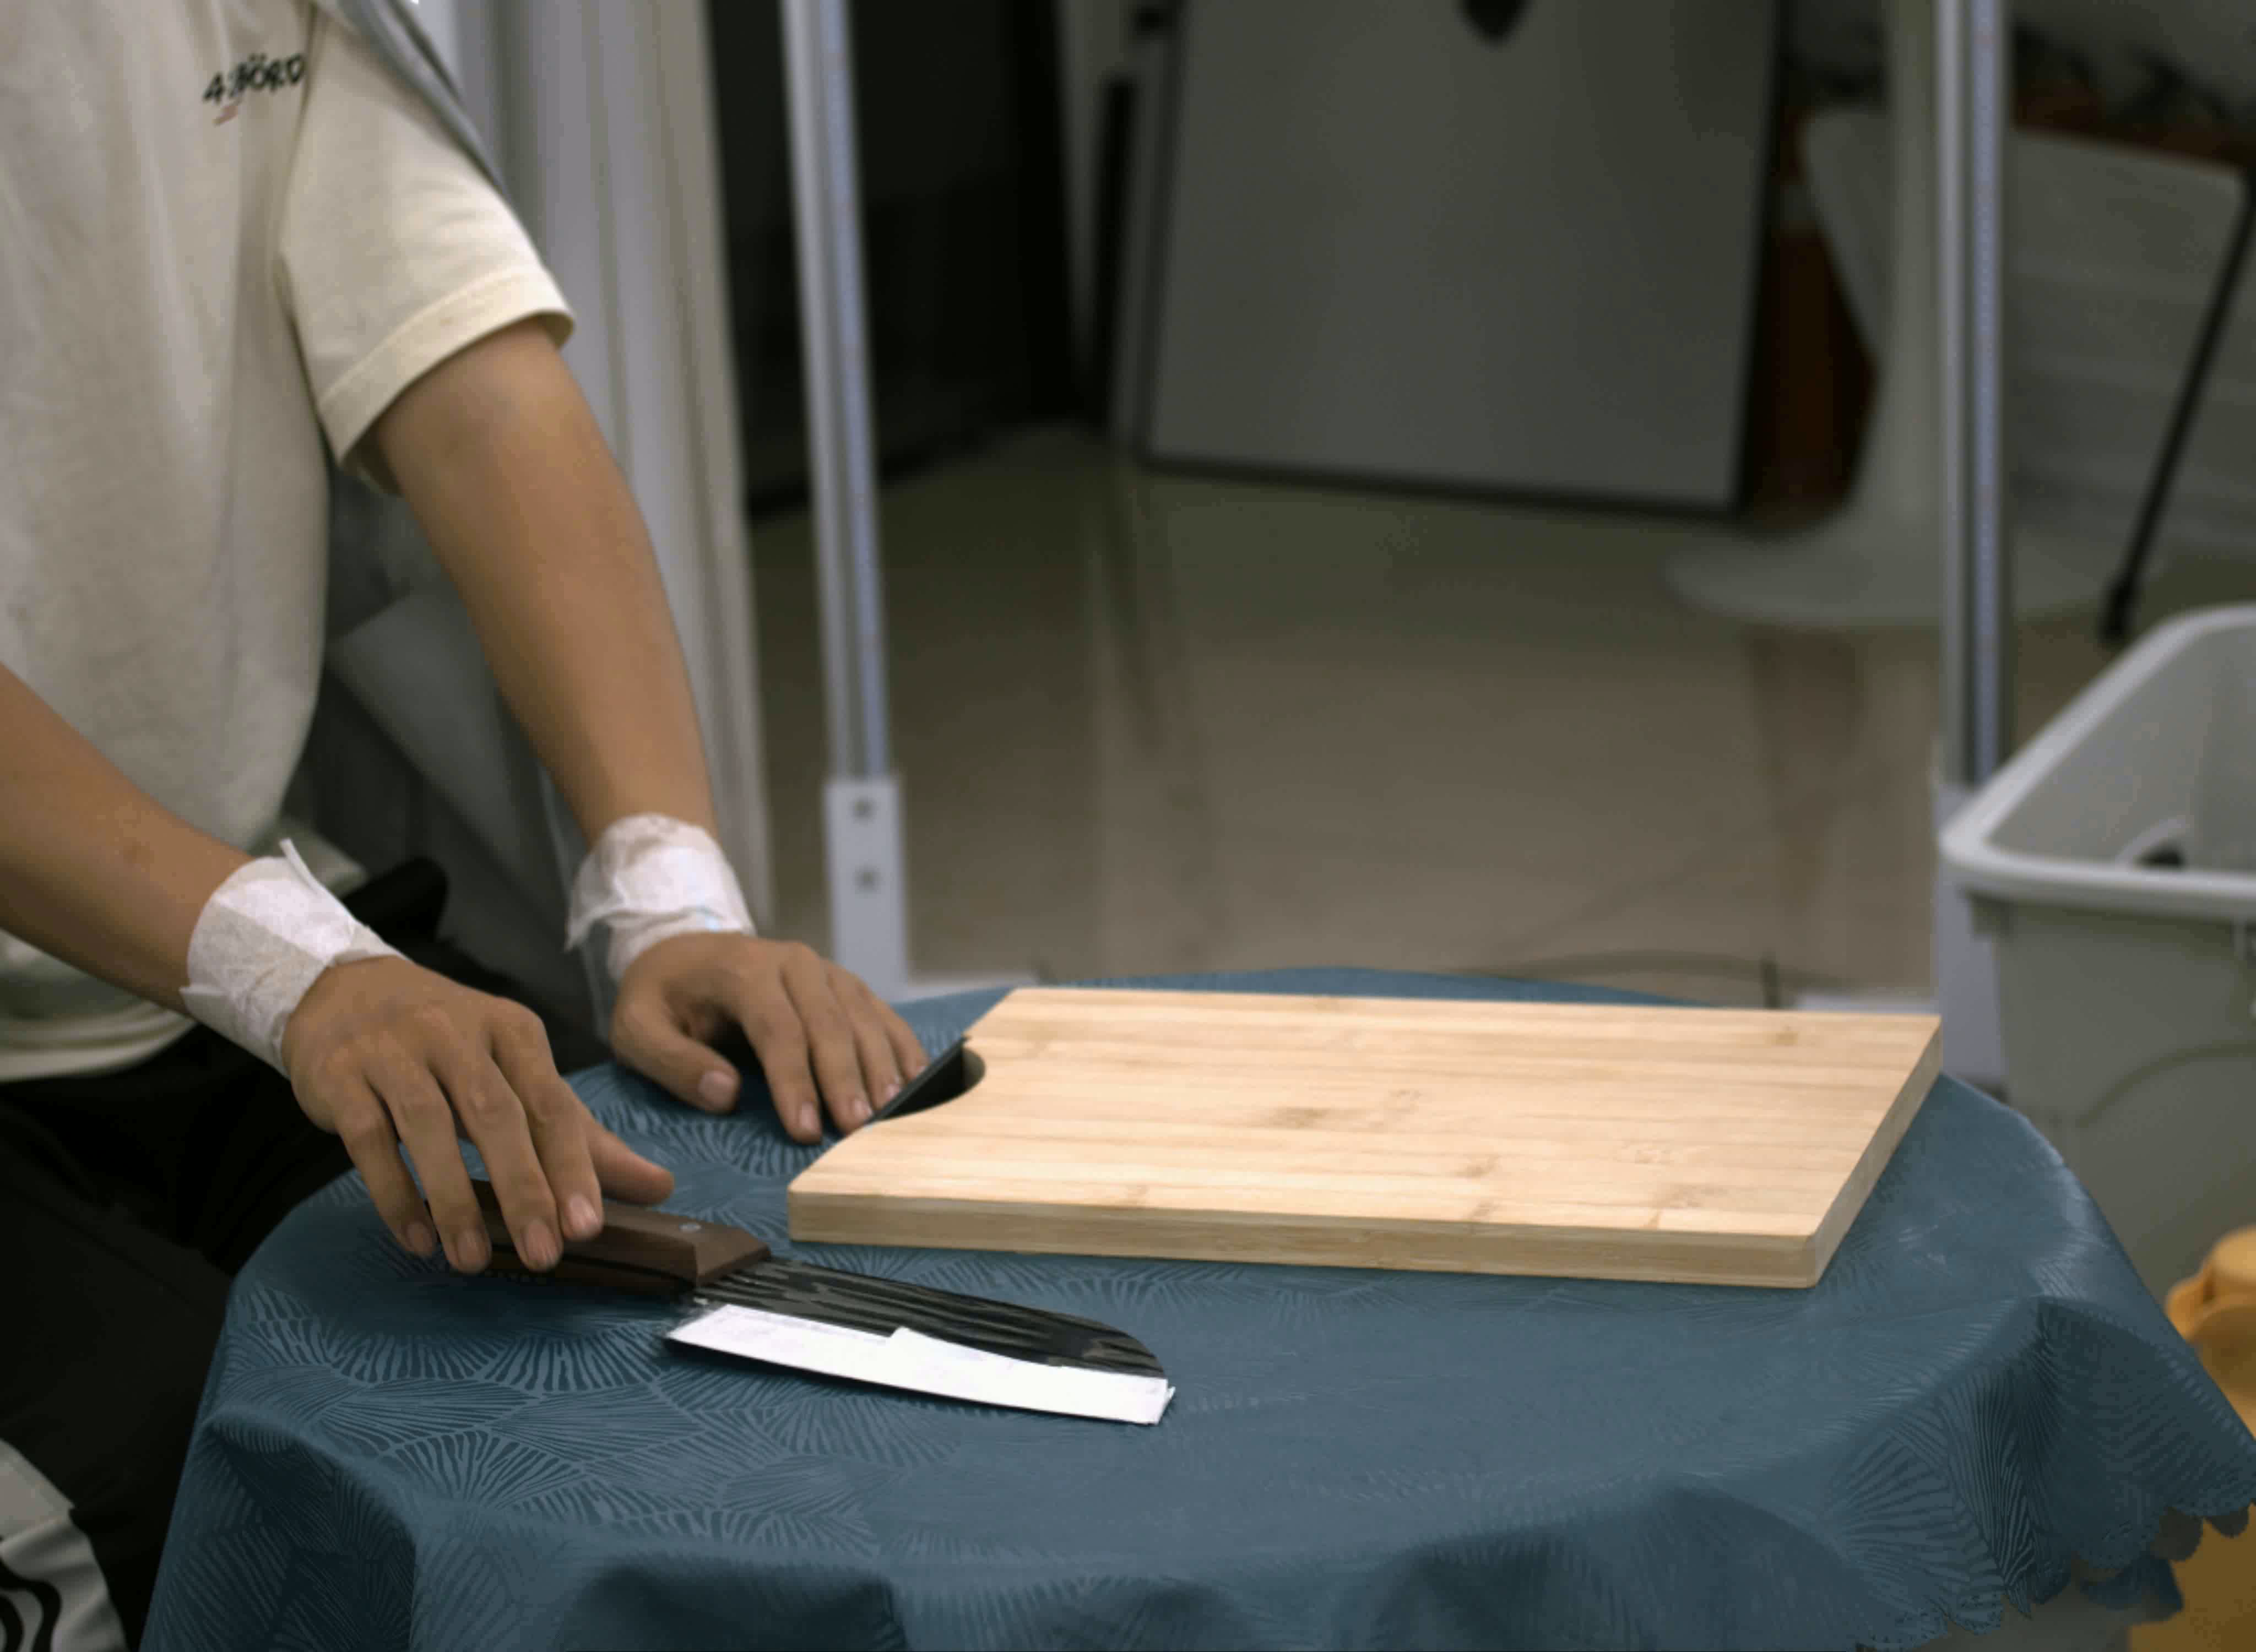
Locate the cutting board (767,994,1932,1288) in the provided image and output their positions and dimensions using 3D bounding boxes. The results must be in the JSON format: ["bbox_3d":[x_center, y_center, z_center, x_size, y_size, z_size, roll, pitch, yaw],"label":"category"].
[{"bbox_3d":[0.080,0.102,1.799,0.348,0.024,0.248,0,14,18],"label":"cutting board"}]

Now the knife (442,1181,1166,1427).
[{"bbox_3d":[-0.107,0.149,1.655,0.301,0.024,0.067,8,20,33],"label":"knife"}]
